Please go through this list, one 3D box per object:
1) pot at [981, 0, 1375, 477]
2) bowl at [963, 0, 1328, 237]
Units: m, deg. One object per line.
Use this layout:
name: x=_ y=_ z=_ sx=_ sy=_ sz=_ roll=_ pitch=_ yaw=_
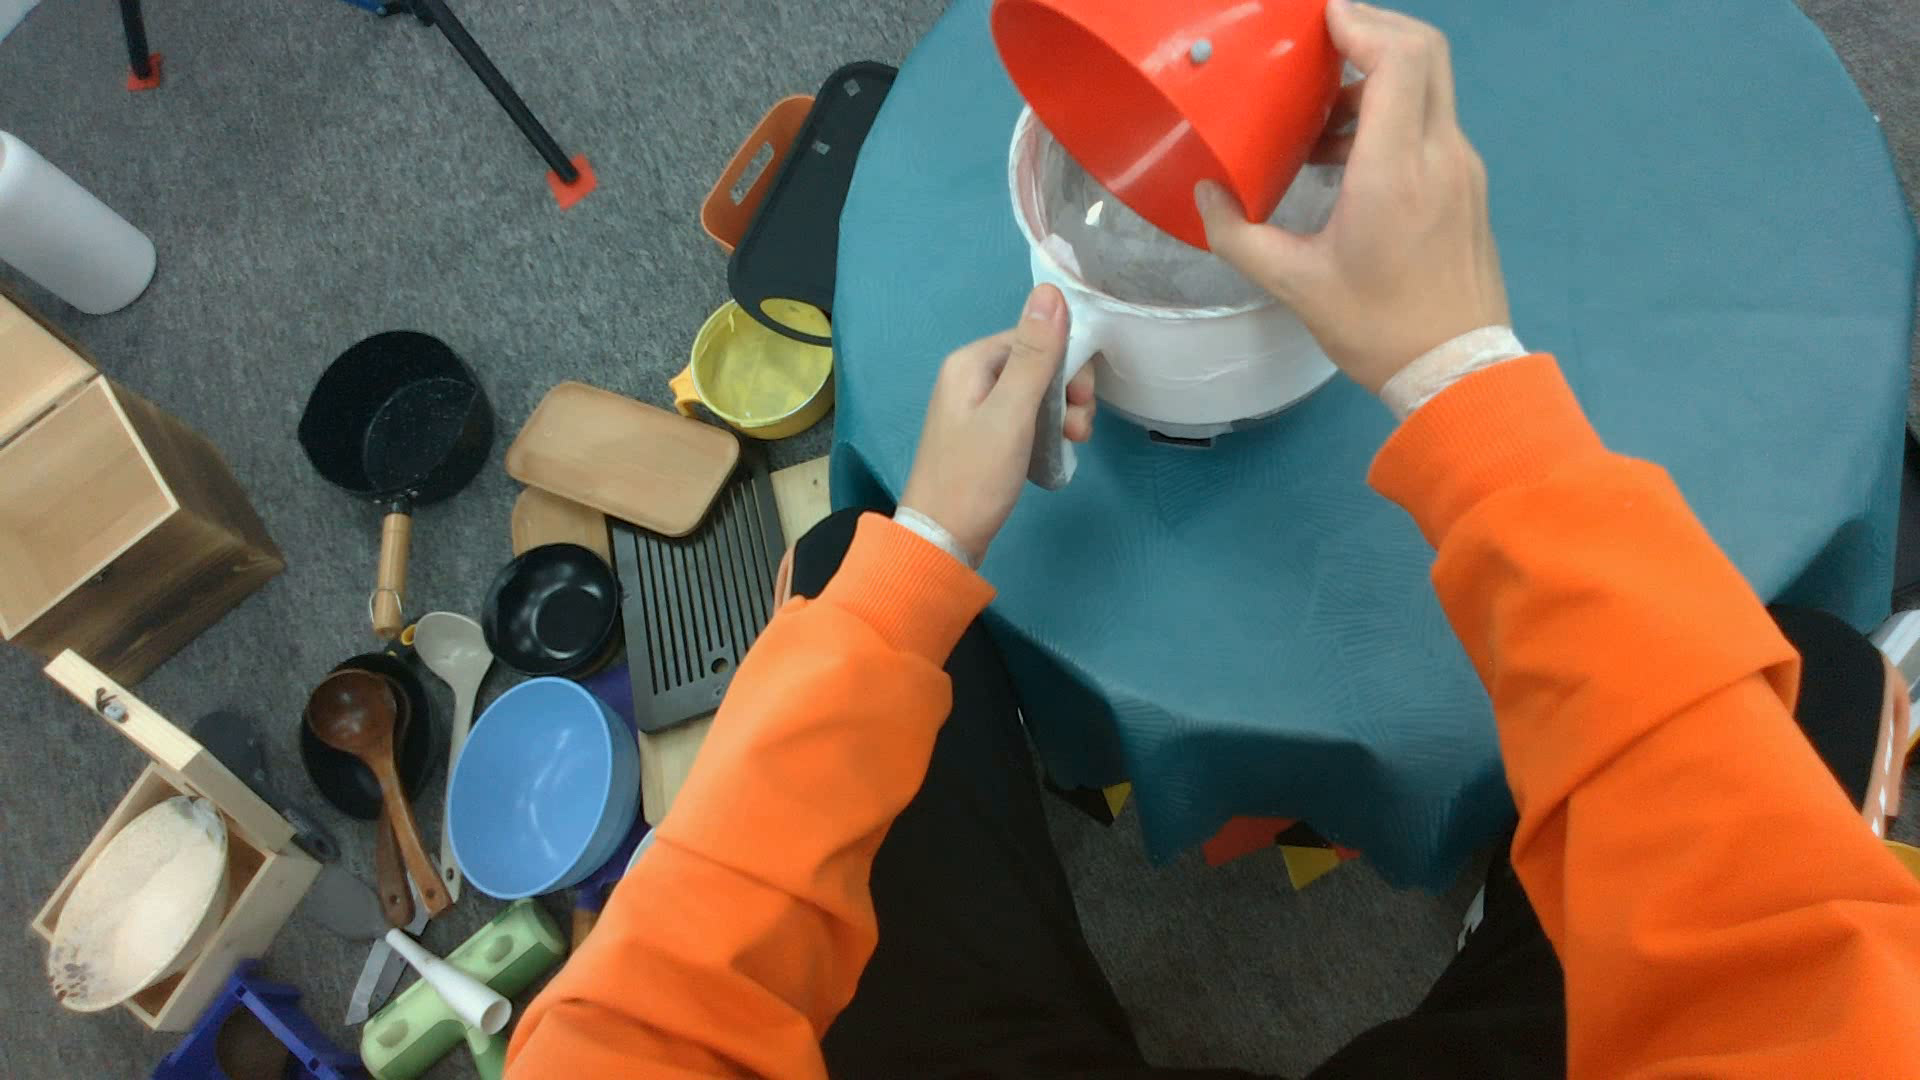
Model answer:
pot: x=0.093 y=-0.139 z=0.680 sx=0.179 sy=0.136 sz=0.234 roll=35 pitch=78 yaw=23
bowl: x=0.088 y=-0.207 z=0.586 sx=0.104 sy=0.148 sz=0.148 roll=-45 pitch=69 yaw=3
